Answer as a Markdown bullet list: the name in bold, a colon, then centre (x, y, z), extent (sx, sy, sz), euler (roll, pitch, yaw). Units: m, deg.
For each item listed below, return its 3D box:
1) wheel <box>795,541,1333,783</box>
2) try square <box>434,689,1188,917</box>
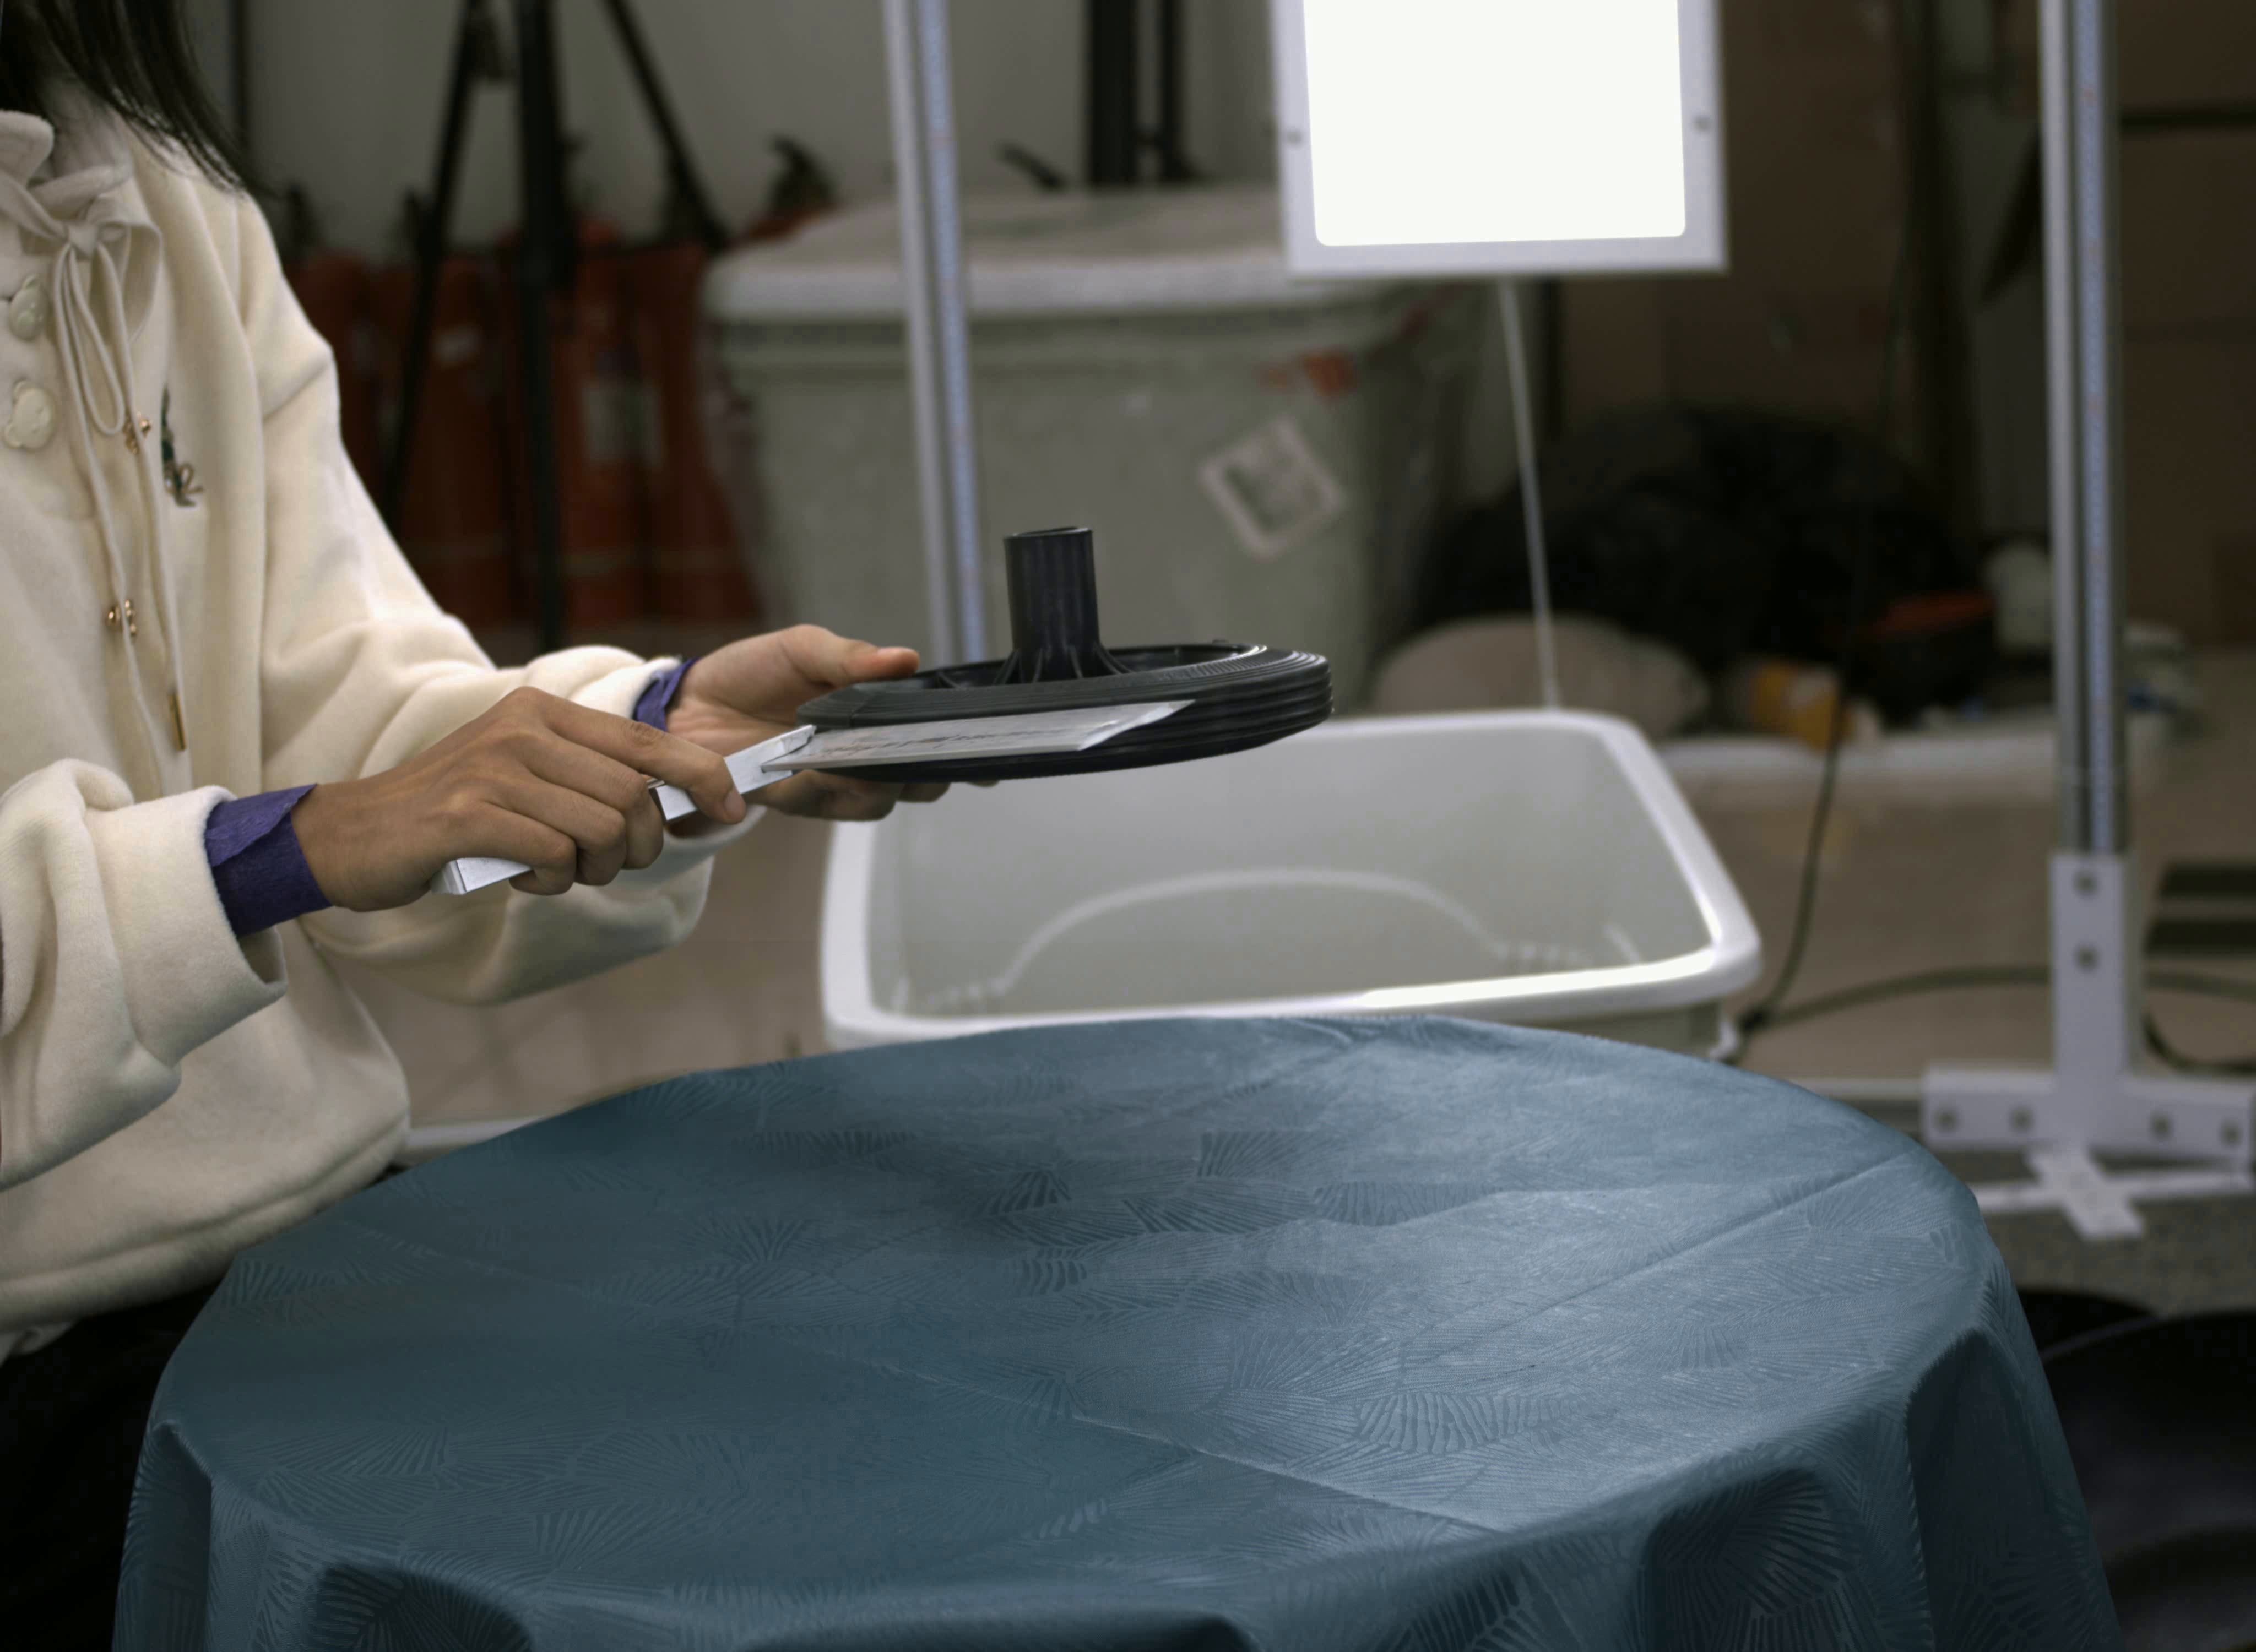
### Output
- **wheel**: centre (-0.024, -0.058, 1.911), extent (0.187, 0.079, 0.190), euler (-6, 5, -2)
- **try square**: centre (-0.105, -0.007, 1.698), extent (0.150, 0.016, 0.318), euler (-25, 8, -20)
